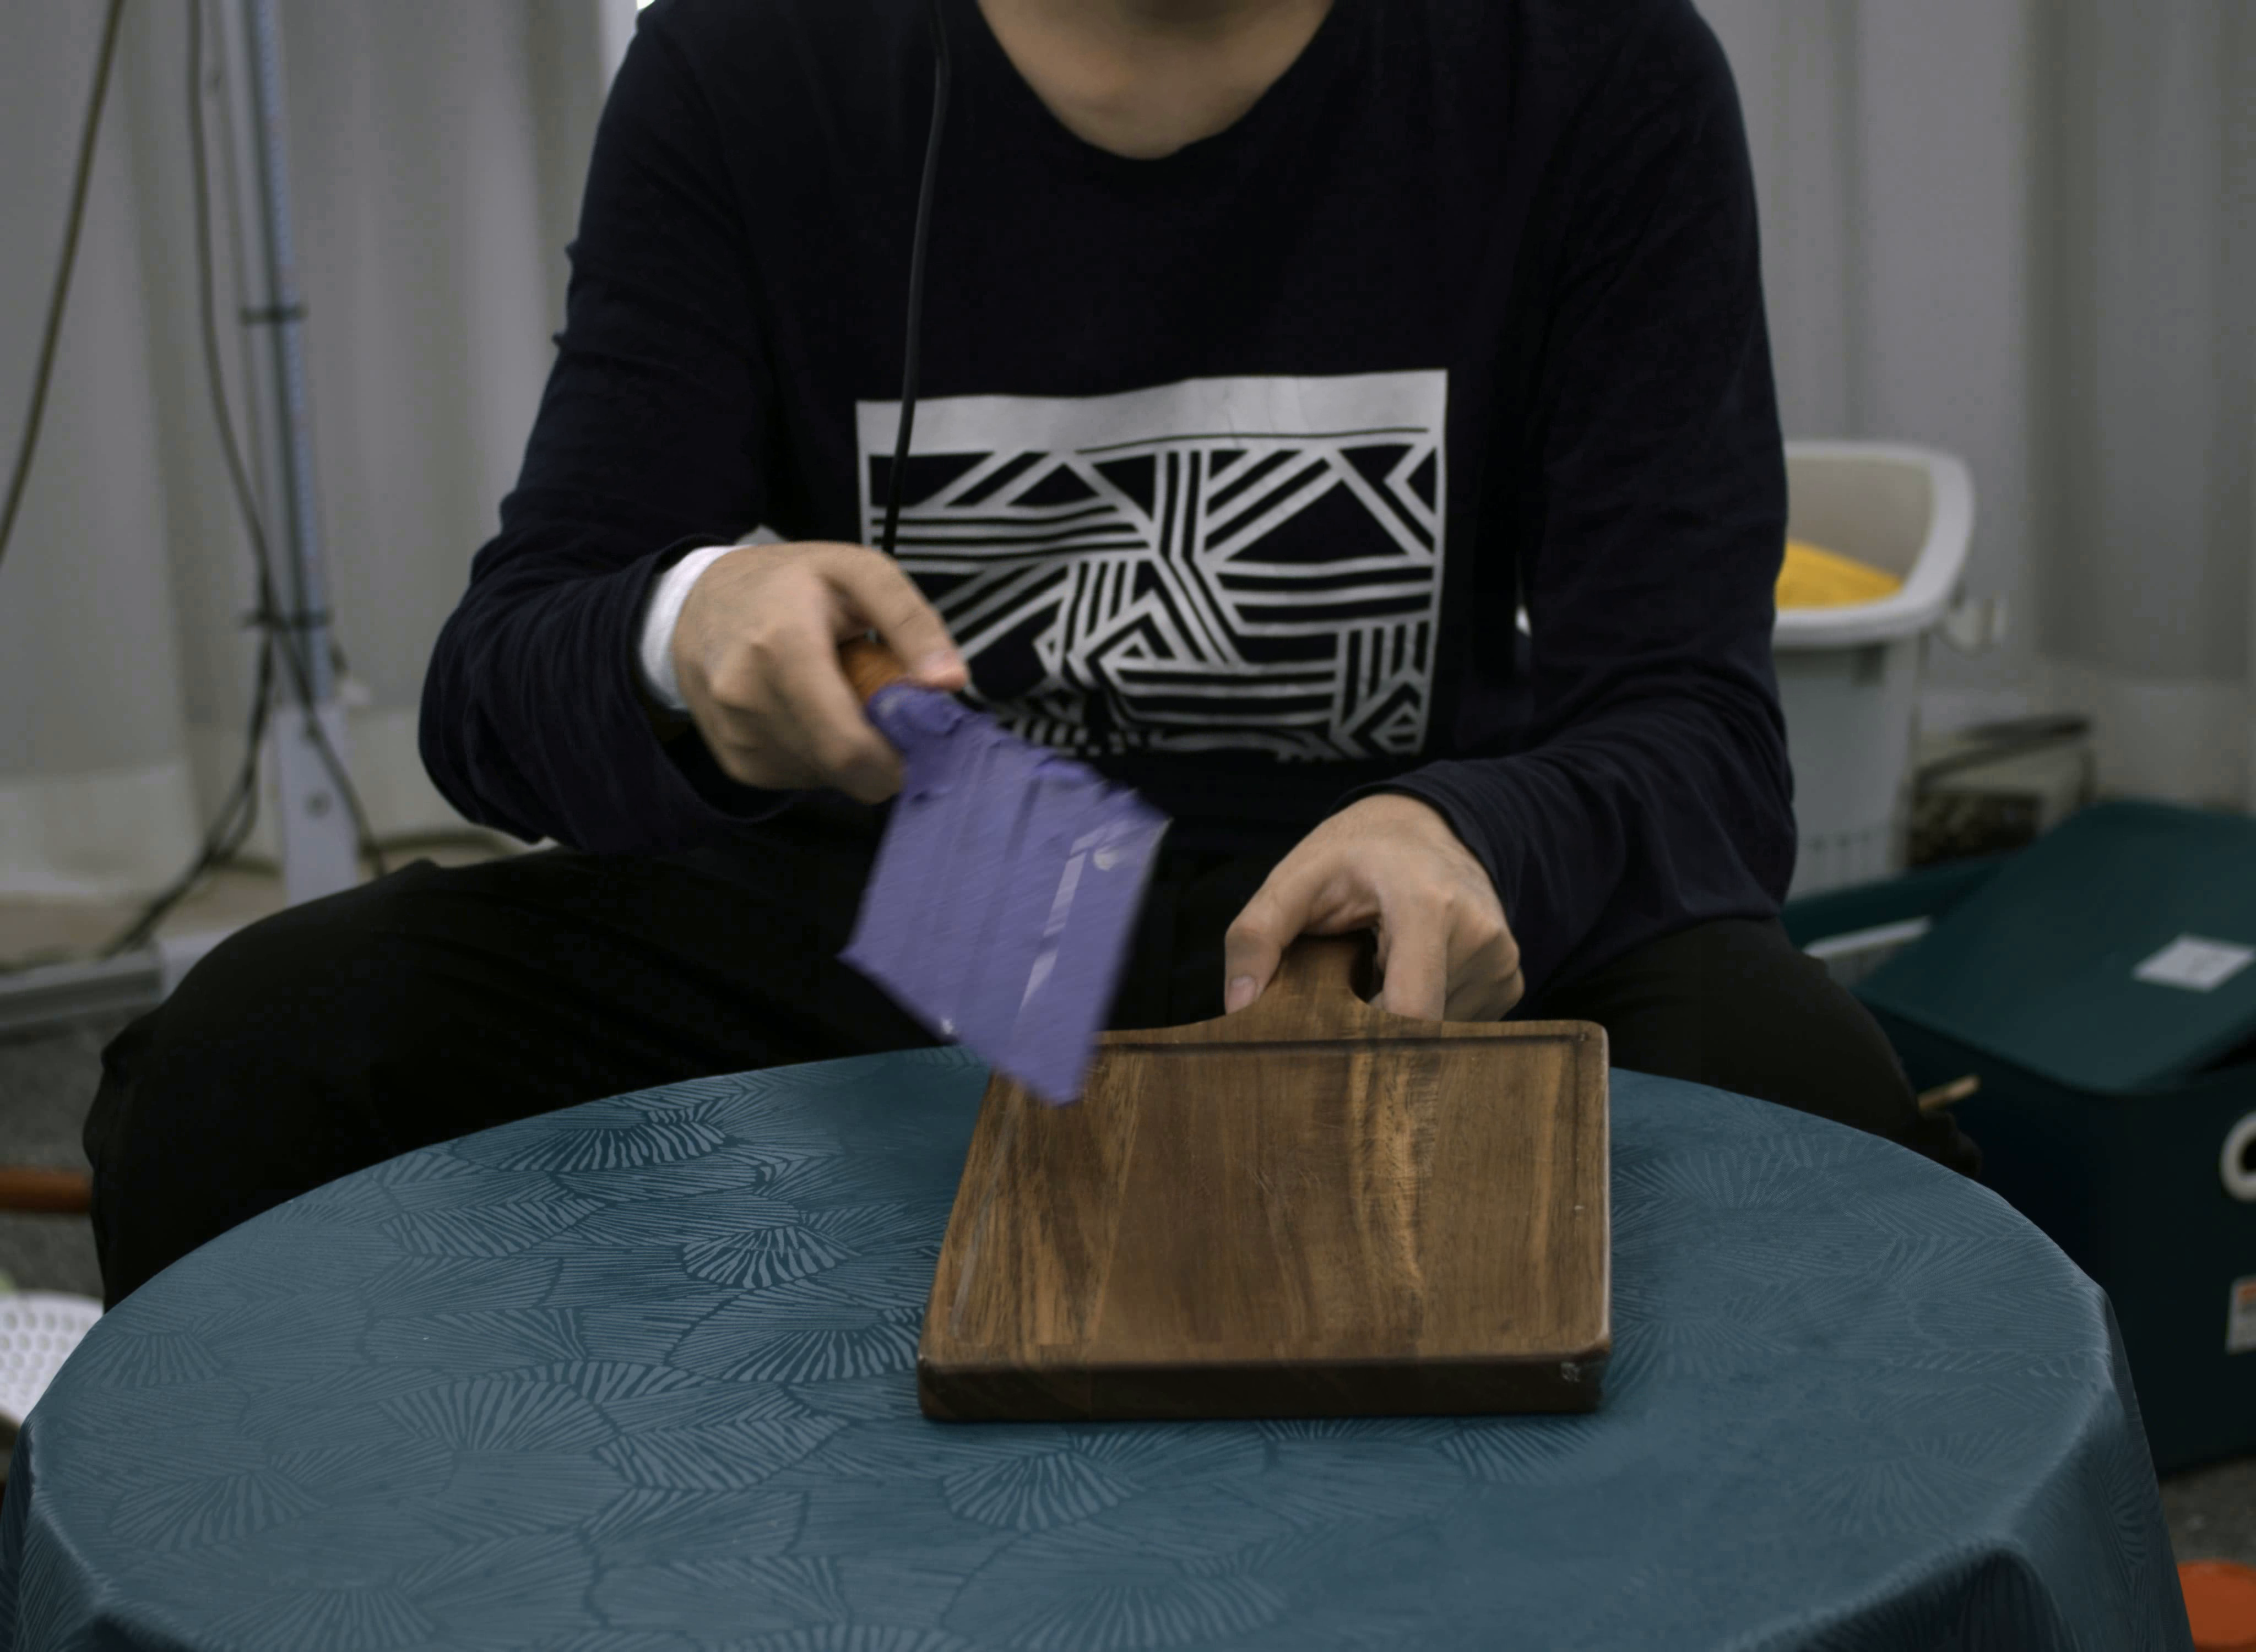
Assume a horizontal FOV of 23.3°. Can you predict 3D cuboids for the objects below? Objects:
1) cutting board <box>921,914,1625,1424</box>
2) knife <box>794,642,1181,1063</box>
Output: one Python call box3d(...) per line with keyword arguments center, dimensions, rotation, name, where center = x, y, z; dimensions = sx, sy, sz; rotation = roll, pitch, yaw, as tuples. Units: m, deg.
box3d(center=(0.051, 0.098, 1.679), dimensions=(0.200, 0.023, 0.355), rotation=(-2, 19, 5), name="cutting board")
box3d(center=(-0.055, 0.005, 1.687), dimensions=(0.032, 0.104, 0.317), rotation=(17, 3, -21), name="knife")
